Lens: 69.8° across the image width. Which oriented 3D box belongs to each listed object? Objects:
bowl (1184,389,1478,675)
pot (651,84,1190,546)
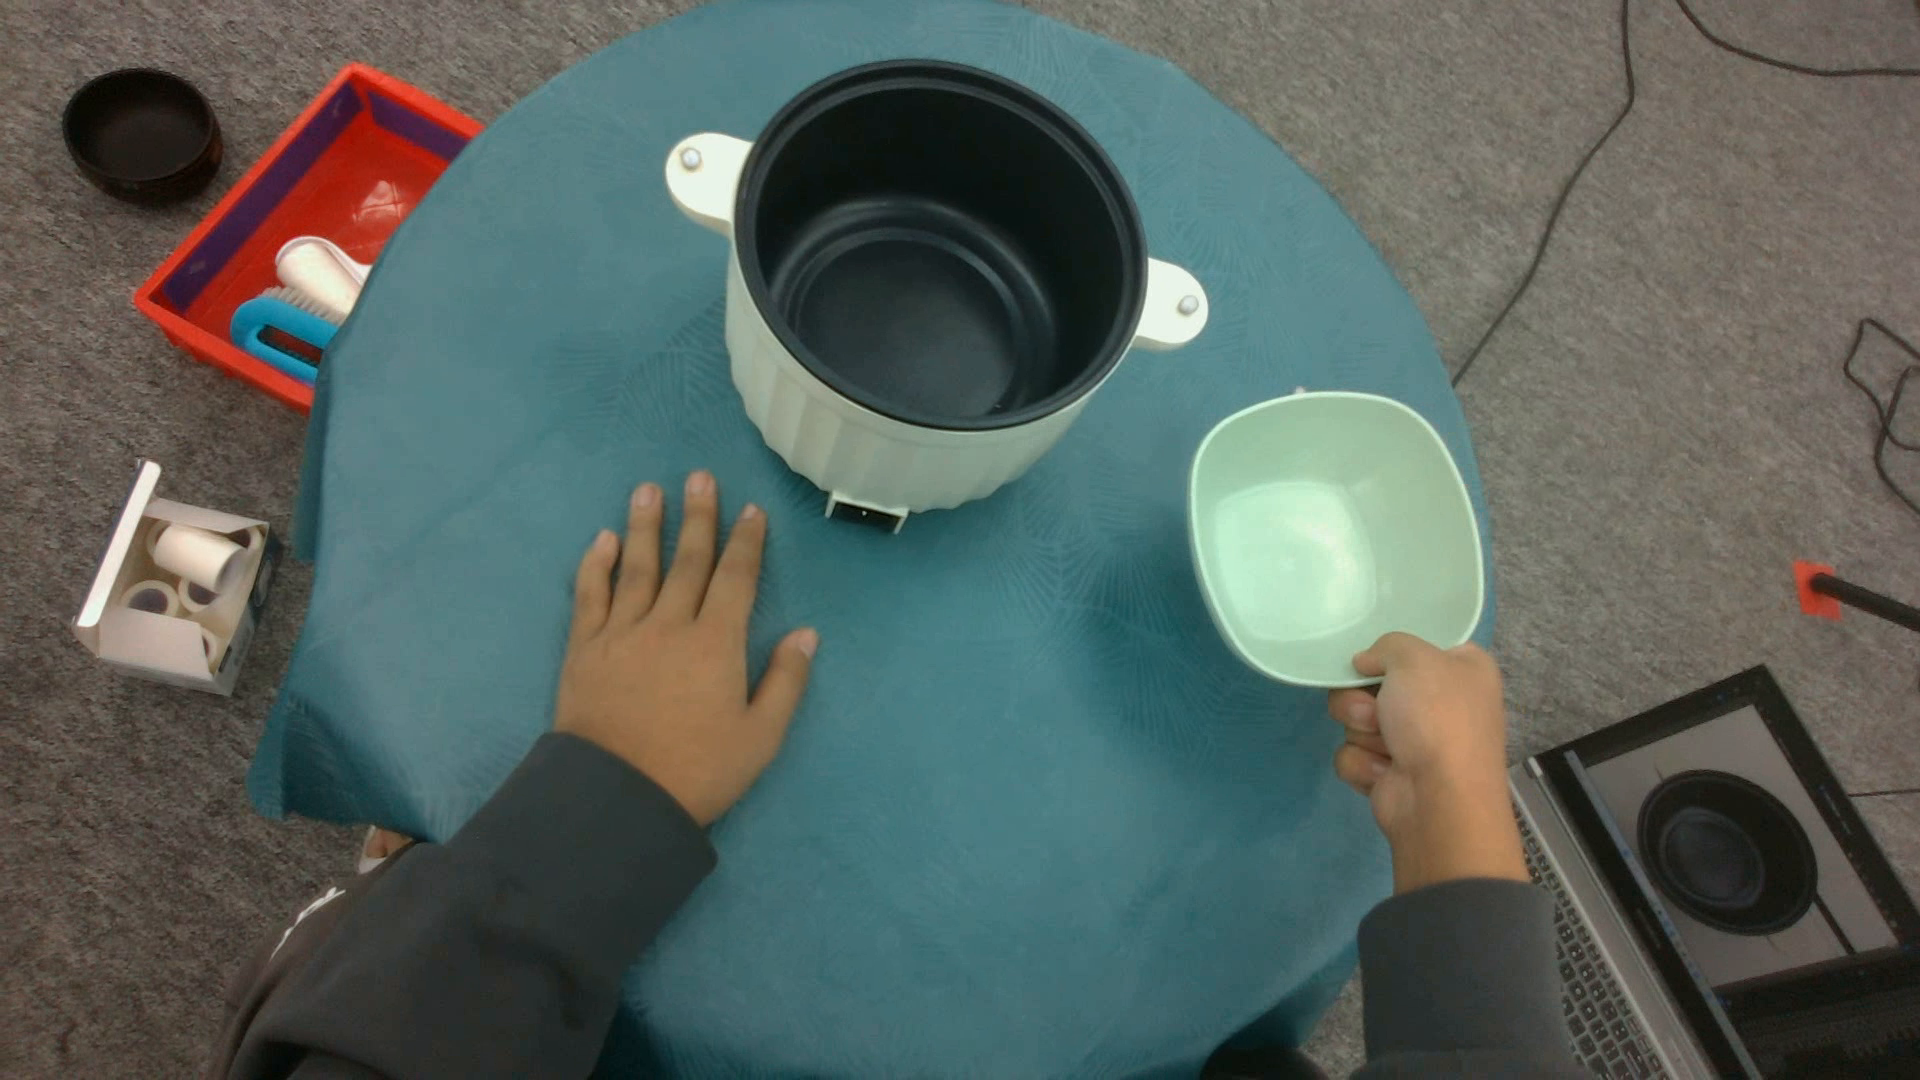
[{"bbox_3d":[0.171,0.001,0.672,0.151,0.058,0.152,3,72,-9],"label":"bowl"},{"bbox_3d":[-0.027,-0.106,0.661,0.240,0.142,0.191,9,70,-10],"label":"pot"}]
